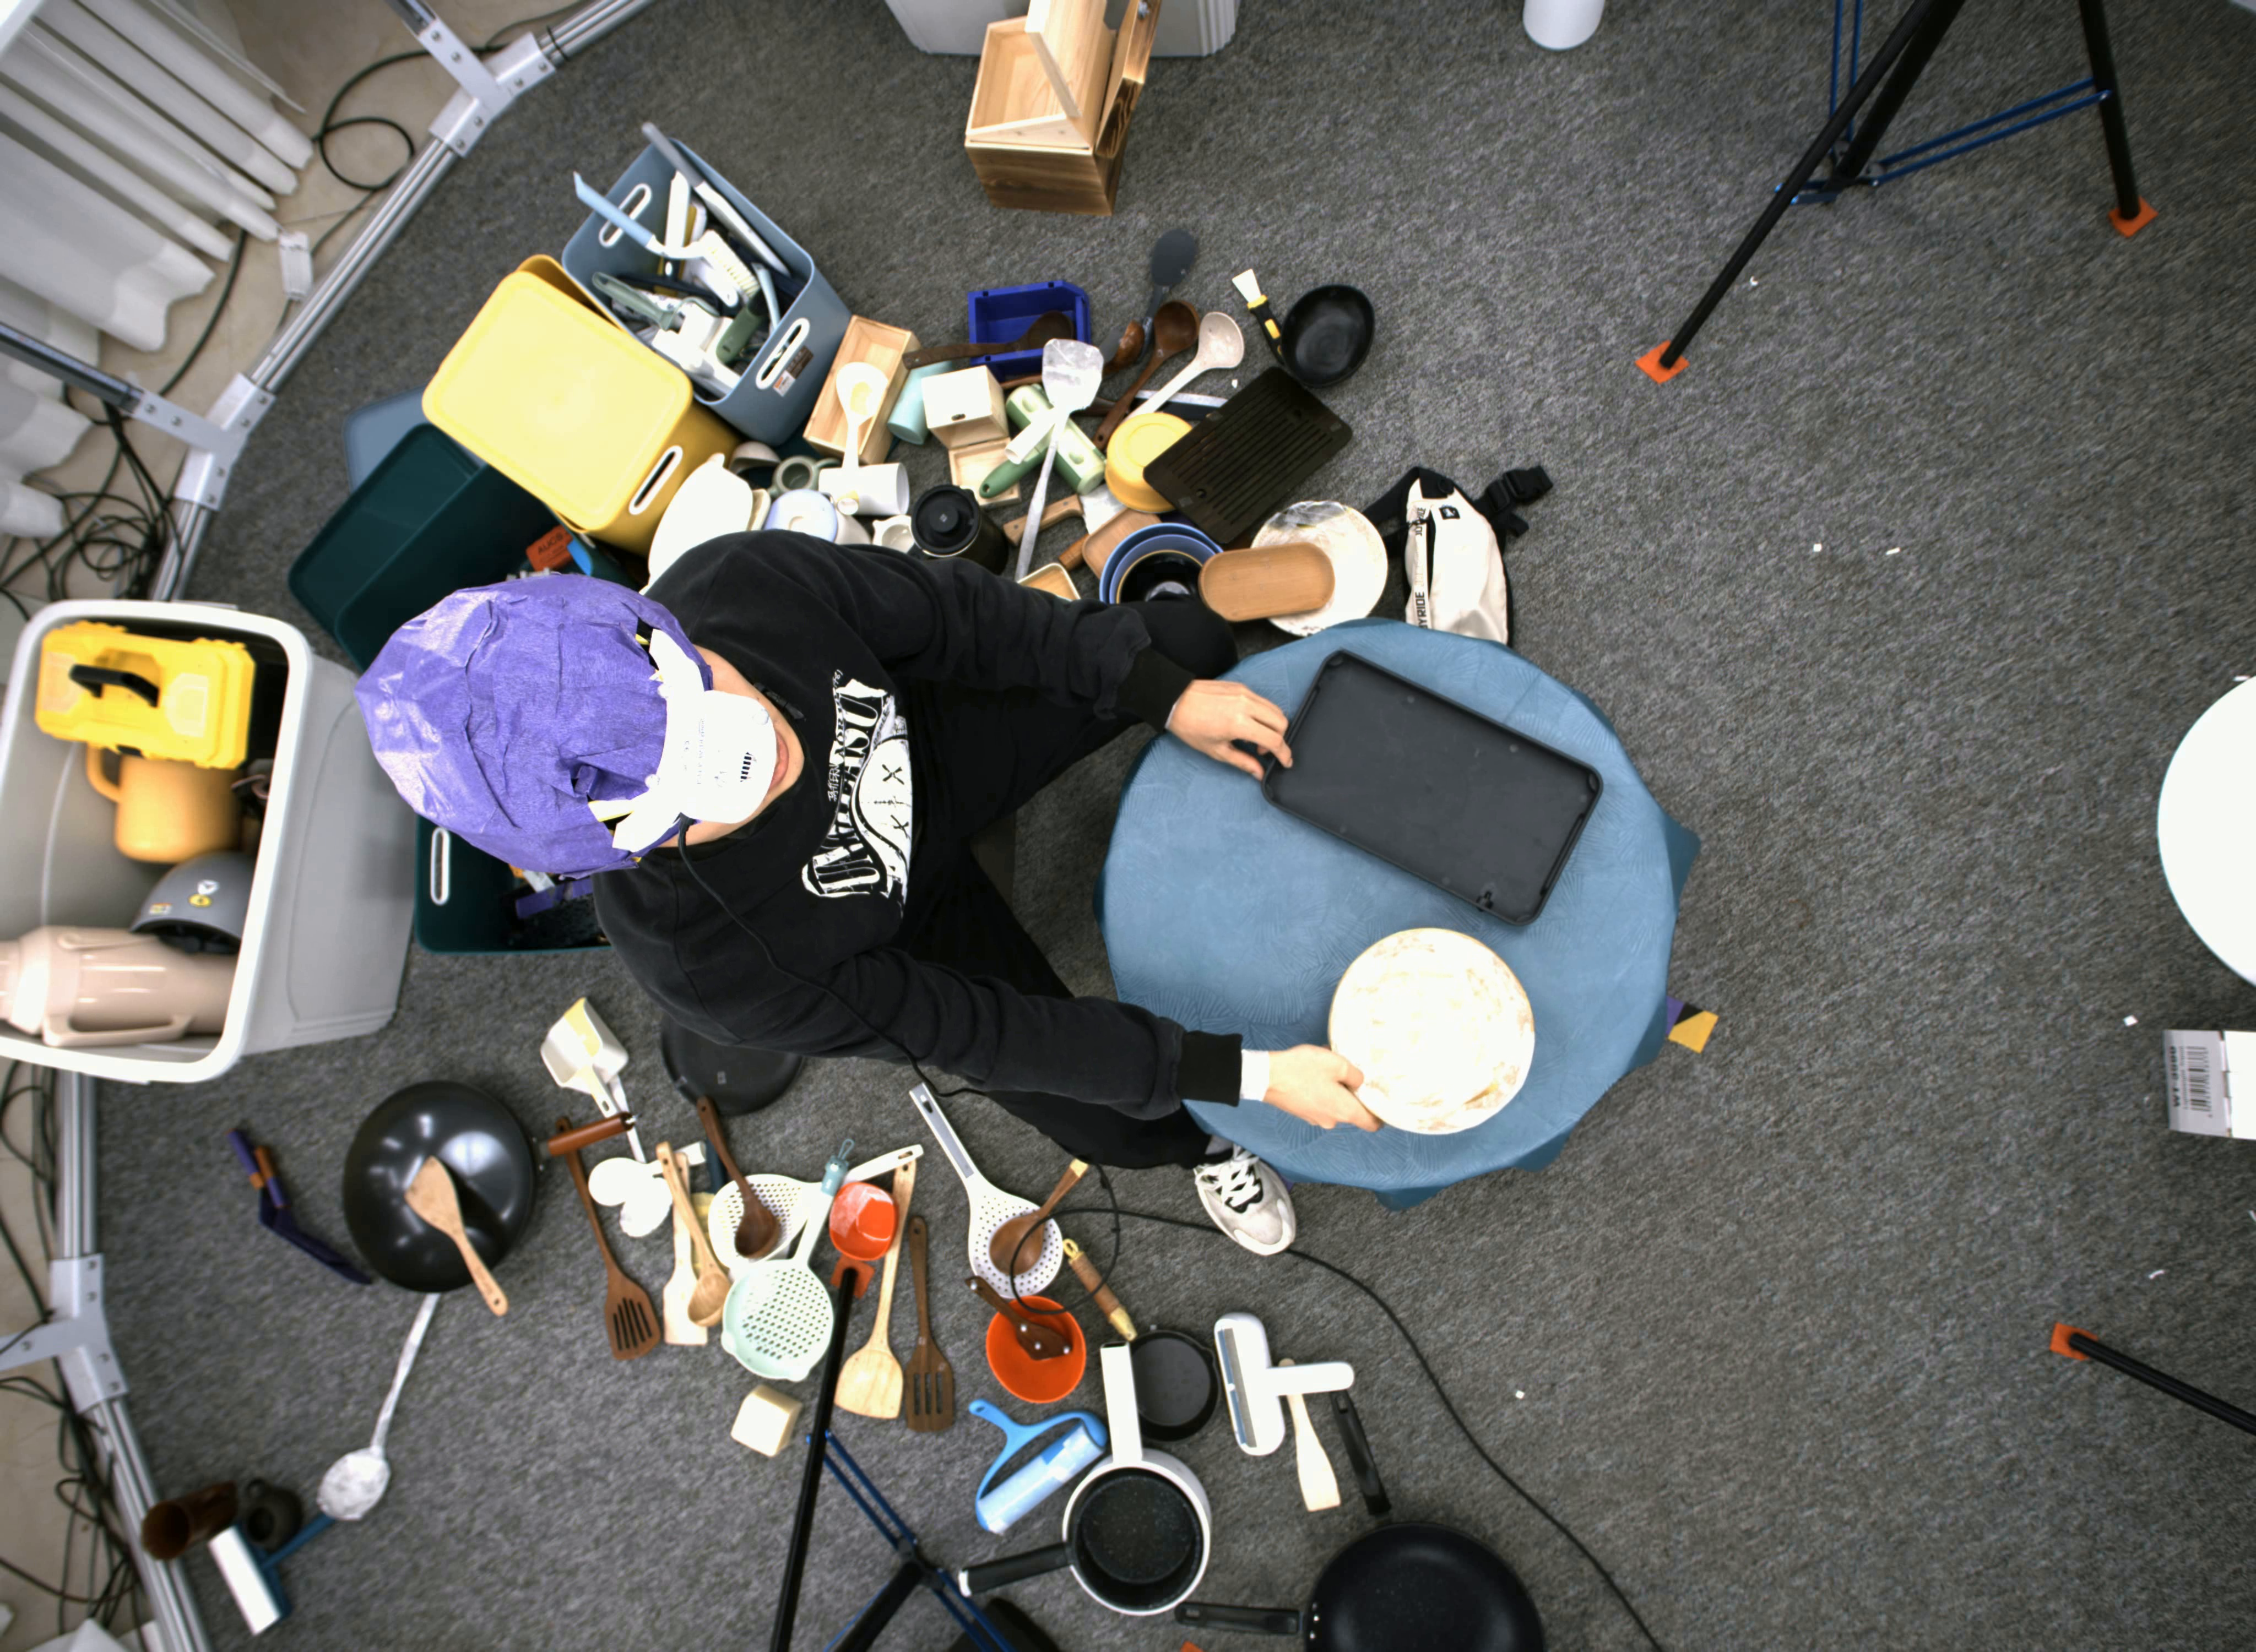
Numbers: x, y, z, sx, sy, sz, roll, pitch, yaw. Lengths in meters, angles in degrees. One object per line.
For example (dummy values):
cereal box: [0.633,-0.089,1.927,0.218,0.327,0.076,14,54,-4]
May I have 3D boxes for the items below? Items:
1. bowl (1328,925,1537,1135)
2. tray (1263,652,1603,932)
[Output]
bowl: [0.305,0.201,1.400,0.215,0.094,0.214,-1,87,9]
tray: [0.318,-0.038,1.447,0.317,0.037,0.184,29,90,10]
